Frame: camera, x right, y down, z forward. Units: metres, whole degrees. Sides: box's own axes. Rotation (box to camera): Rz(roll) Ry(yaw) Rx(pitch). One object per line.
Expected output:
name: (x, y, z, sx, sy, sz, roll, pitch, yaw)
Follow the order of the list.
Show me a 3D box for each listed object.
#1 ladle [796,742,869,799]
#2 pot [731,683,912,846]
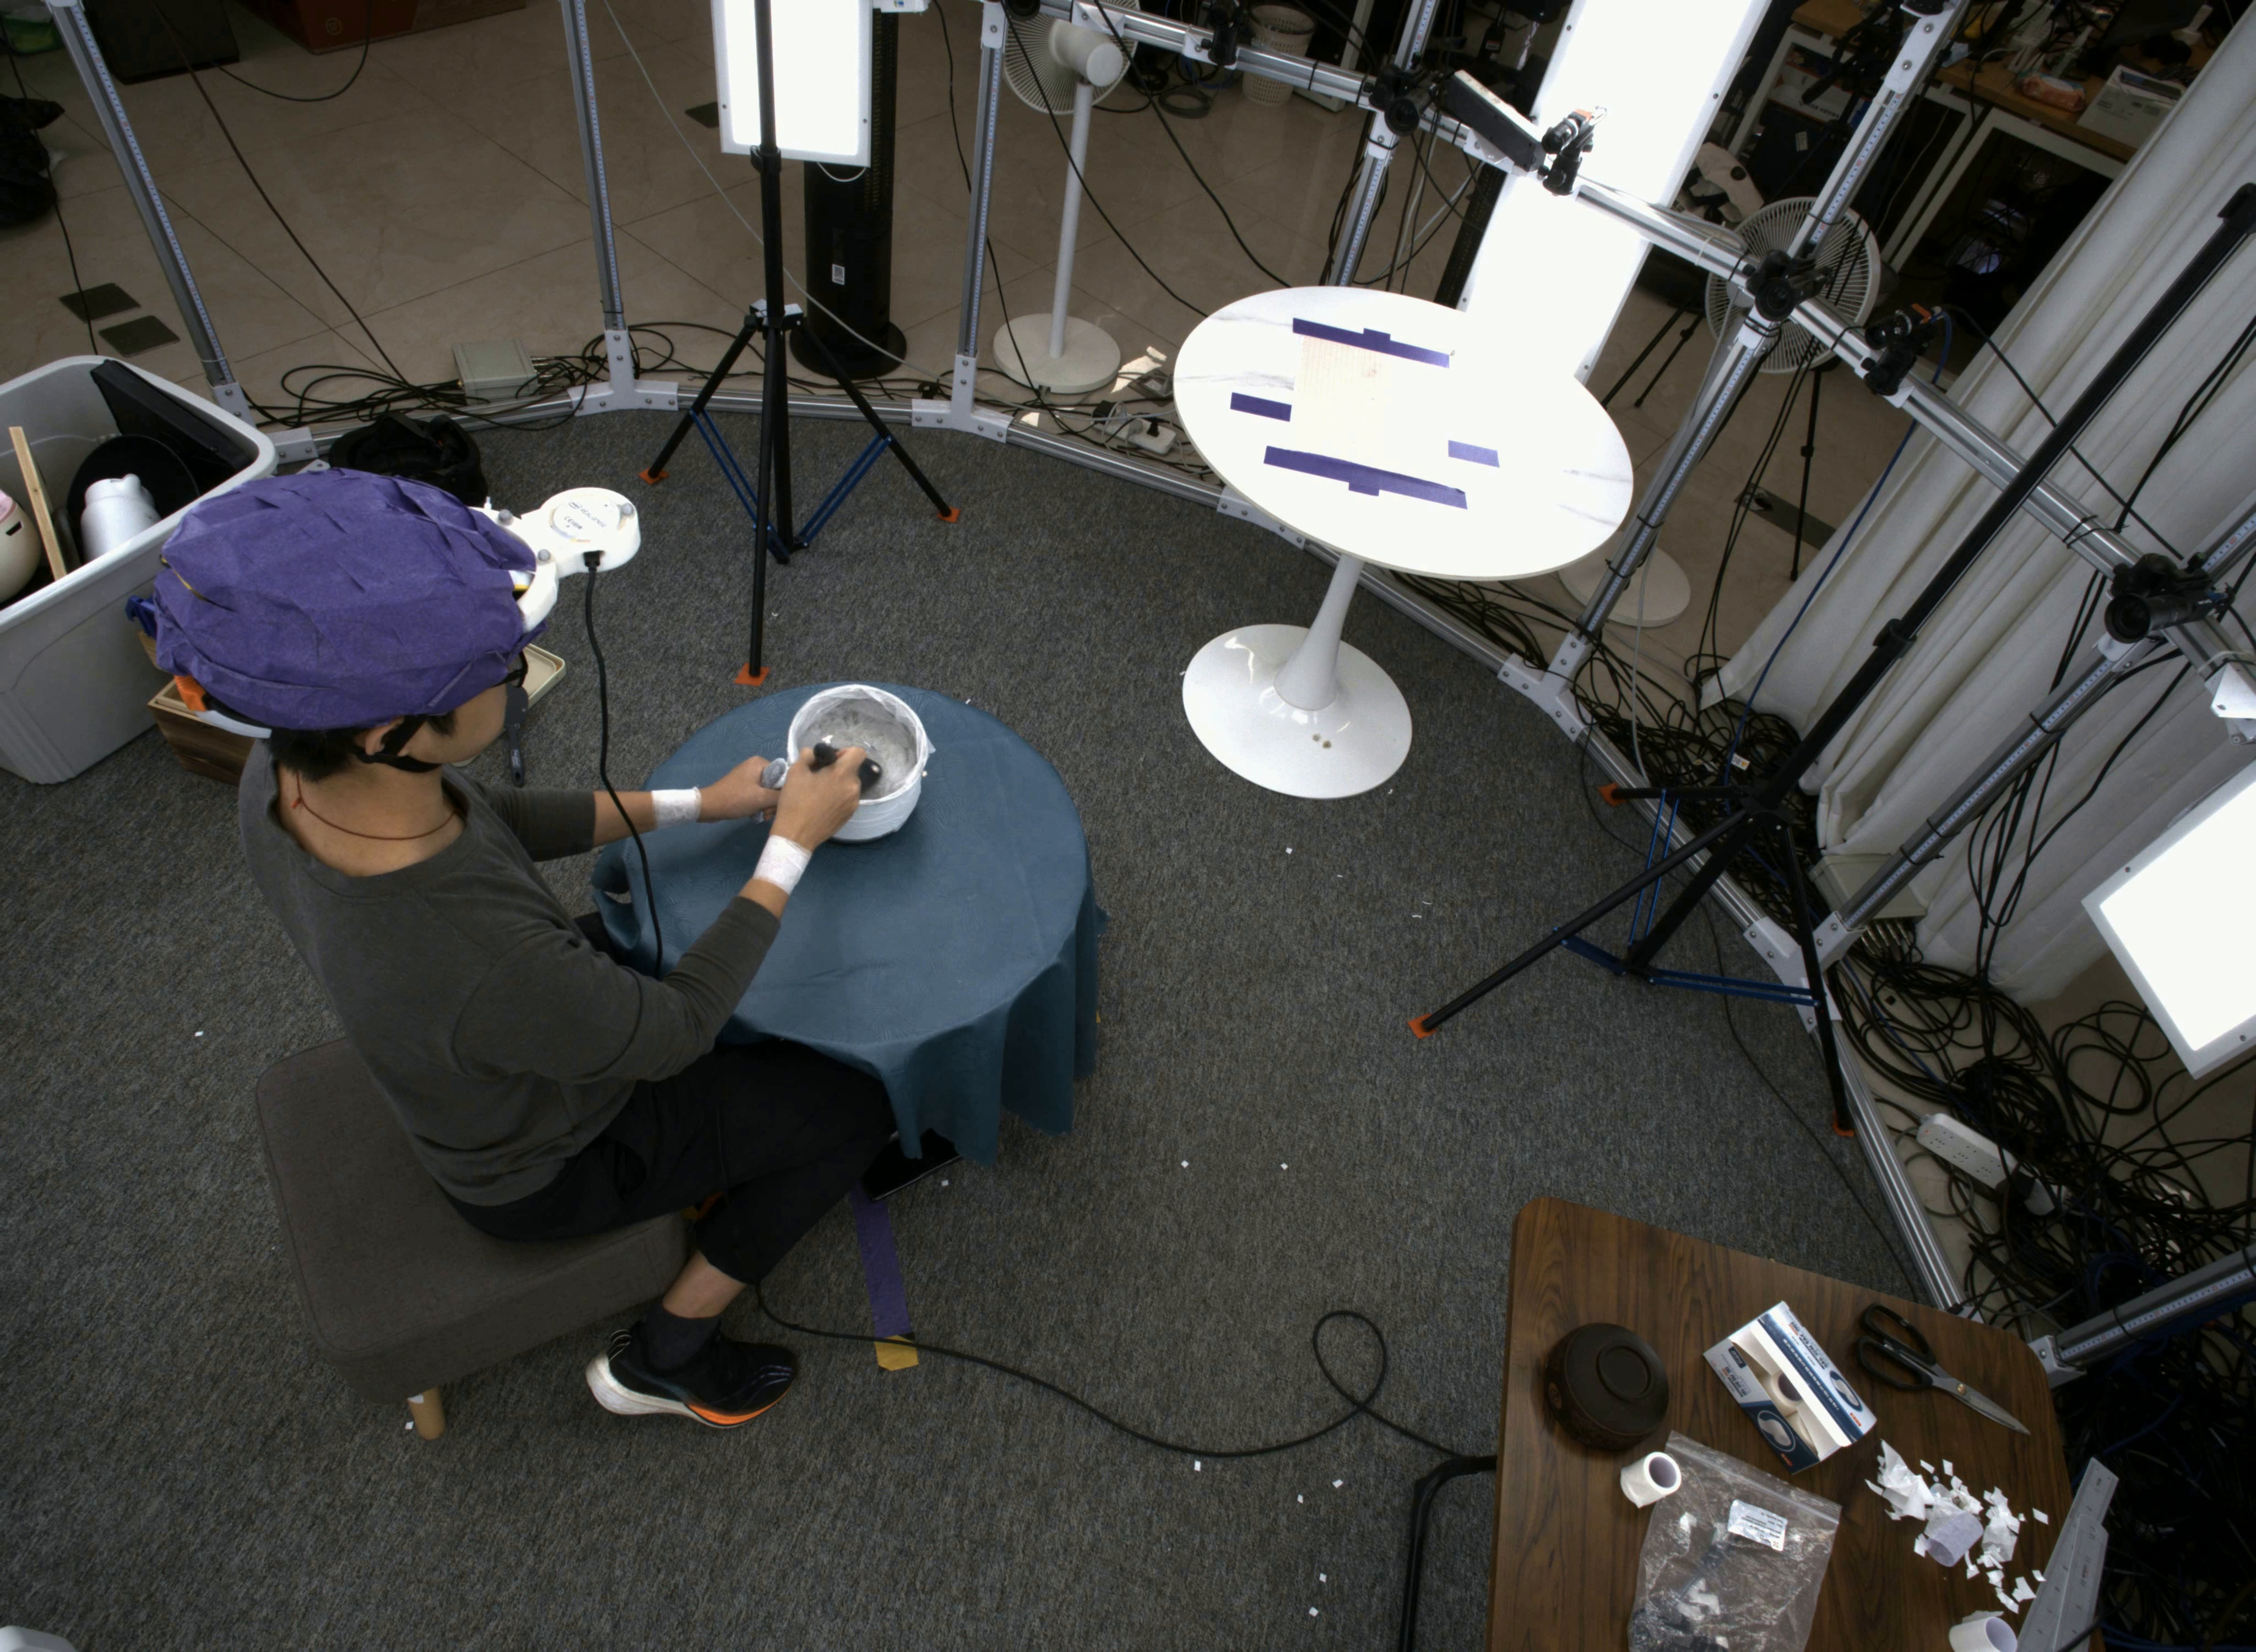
ladle: (-0.368, -0.085, 1.568, 0.086, 0.314, 0.064, 13, 80, -5)
pot: (-0.402, -0.067, 1.691, 0.235, 0.138, 0.176, -20, 71, -25)
